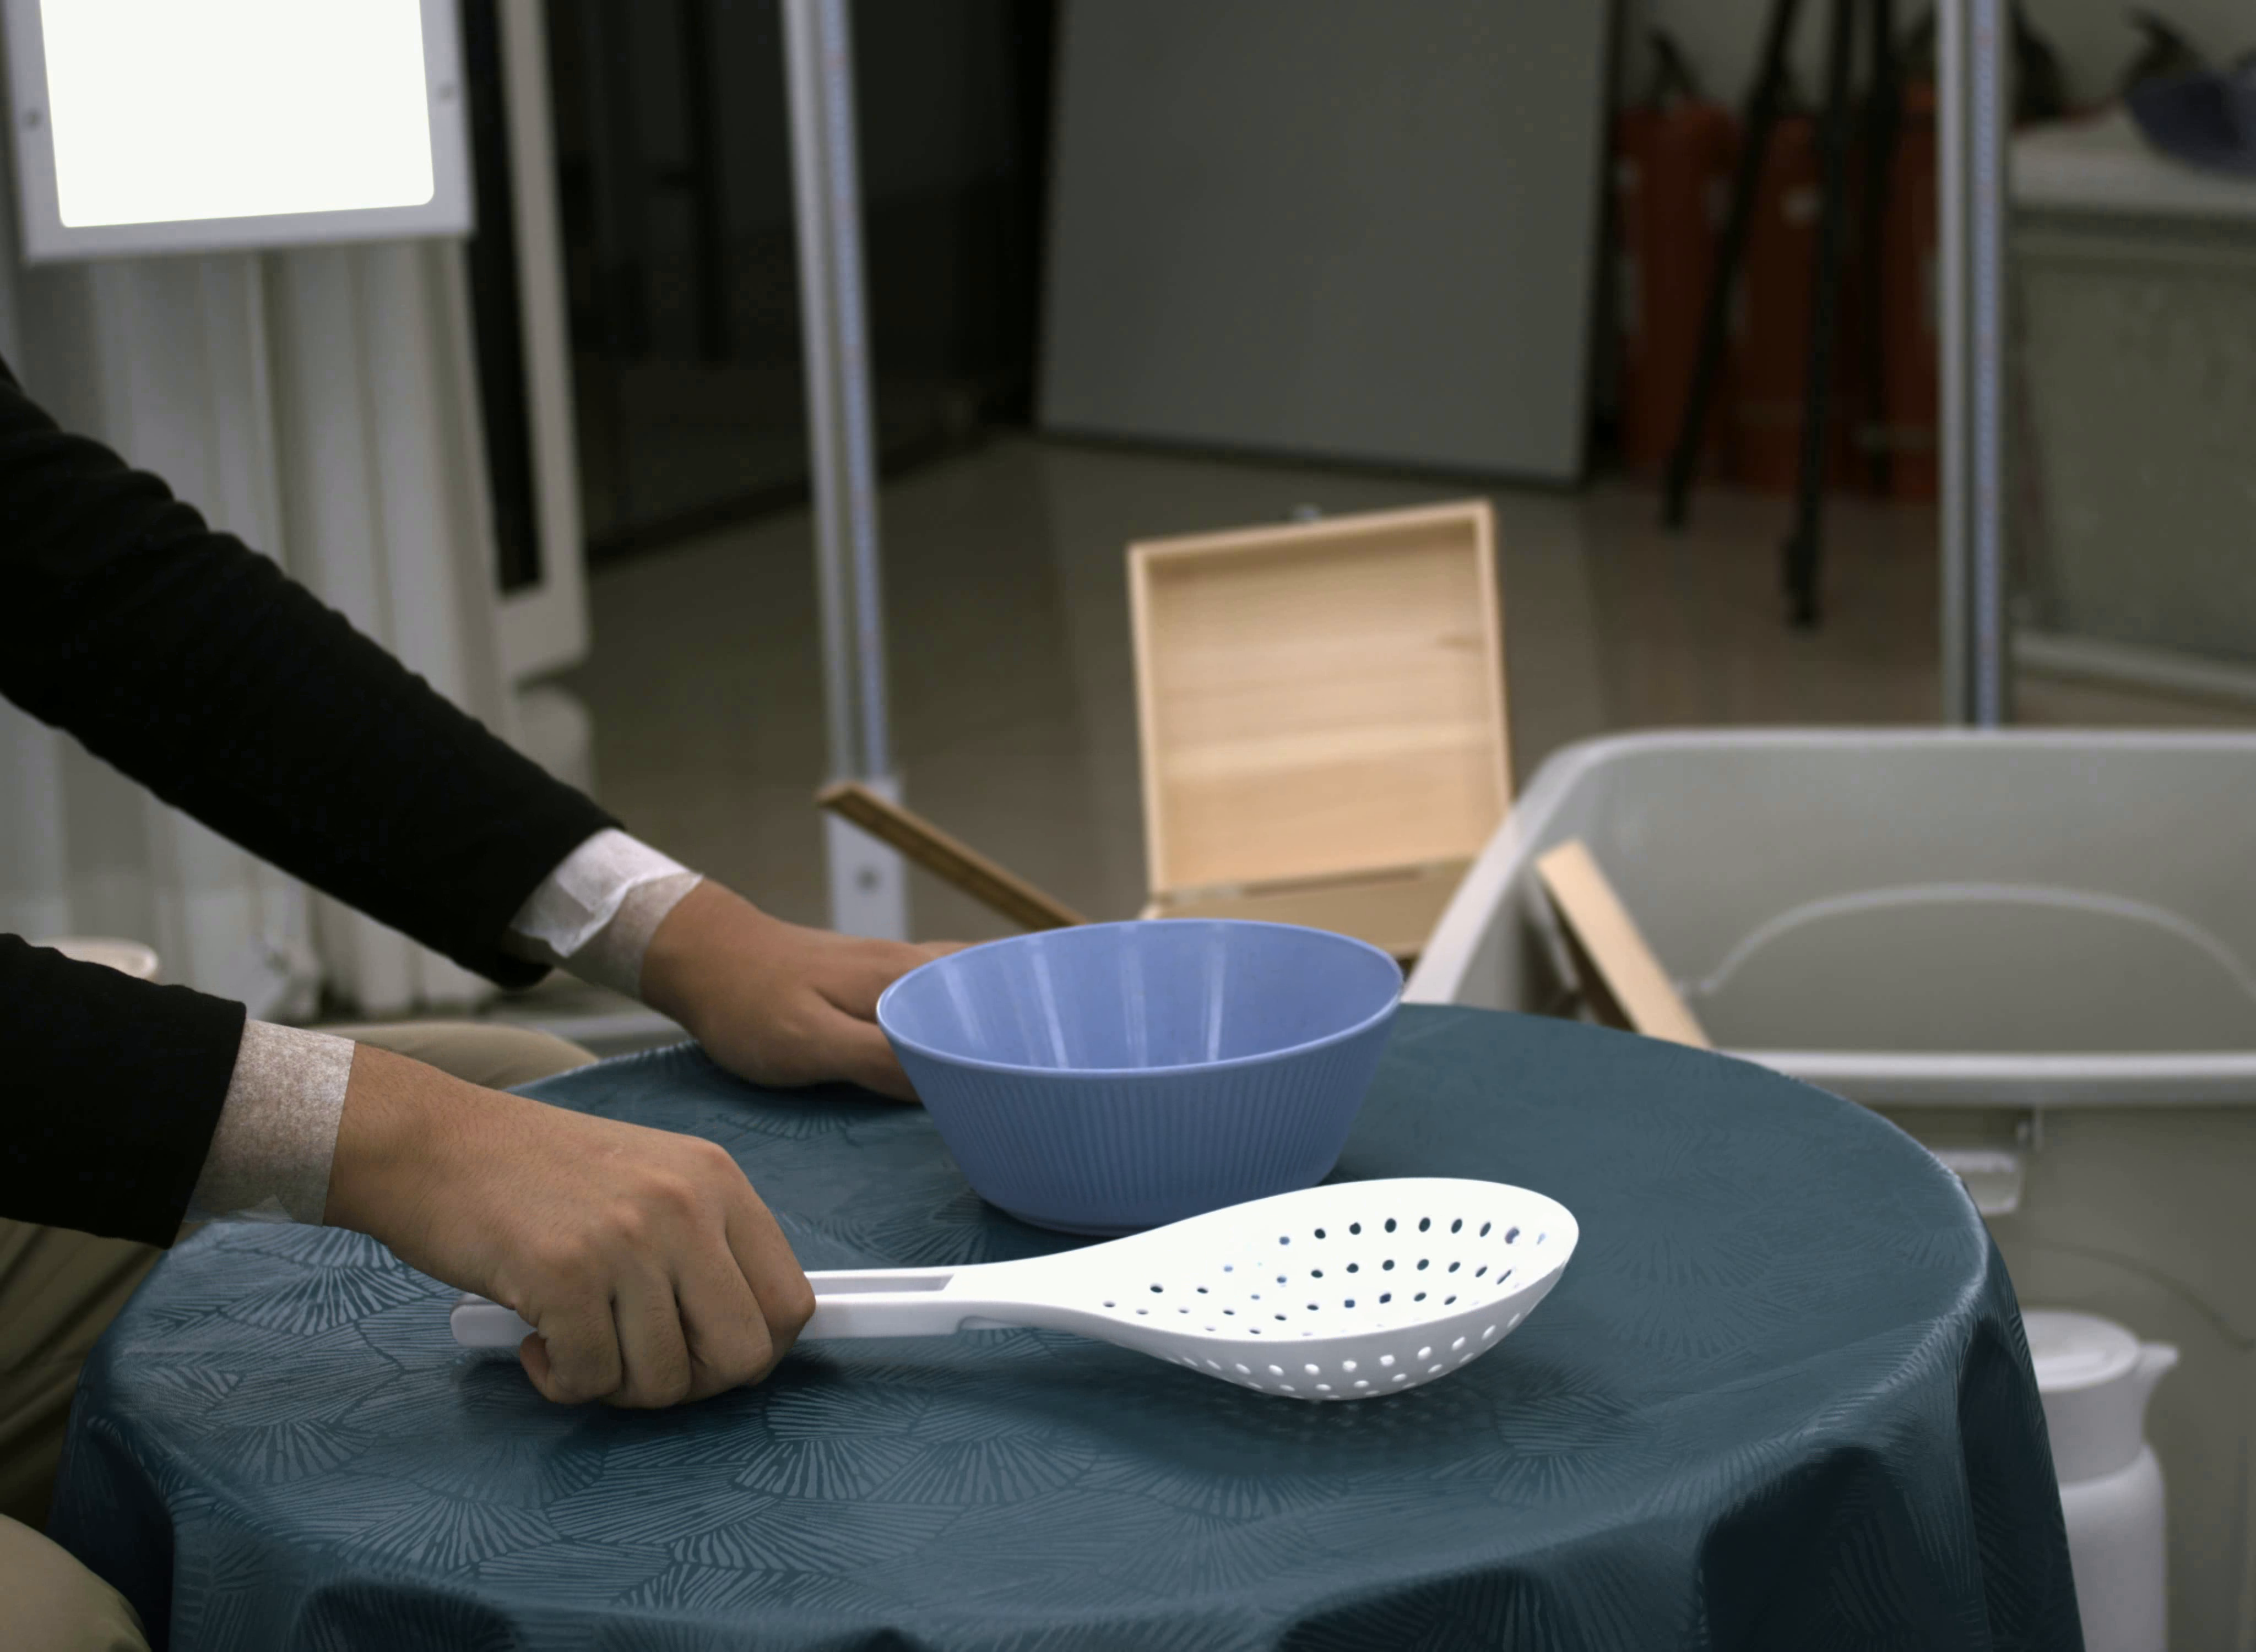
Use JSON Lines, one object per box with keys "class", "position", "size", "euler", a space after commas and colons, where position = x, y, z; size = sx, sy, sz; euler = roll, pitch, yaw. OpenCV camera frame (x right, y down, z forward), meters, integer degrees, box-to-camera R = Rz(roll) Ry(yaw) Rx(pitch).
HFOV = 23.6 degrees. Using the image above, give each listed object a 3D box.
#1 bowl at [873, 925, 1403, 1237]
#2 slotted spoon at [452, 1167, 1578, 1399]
{"class": "bowl", "position": [0.005, 0.086, 1.767], "size": [0.174, 0.071, 0.176], "euler": [-5, 13, 0]}
{"class": "slotted spoon", "position": [-0.037, 0.139, 1.601], "size": [0.348, 0.046, 0.135], "euler": [0, 17, 16]}
